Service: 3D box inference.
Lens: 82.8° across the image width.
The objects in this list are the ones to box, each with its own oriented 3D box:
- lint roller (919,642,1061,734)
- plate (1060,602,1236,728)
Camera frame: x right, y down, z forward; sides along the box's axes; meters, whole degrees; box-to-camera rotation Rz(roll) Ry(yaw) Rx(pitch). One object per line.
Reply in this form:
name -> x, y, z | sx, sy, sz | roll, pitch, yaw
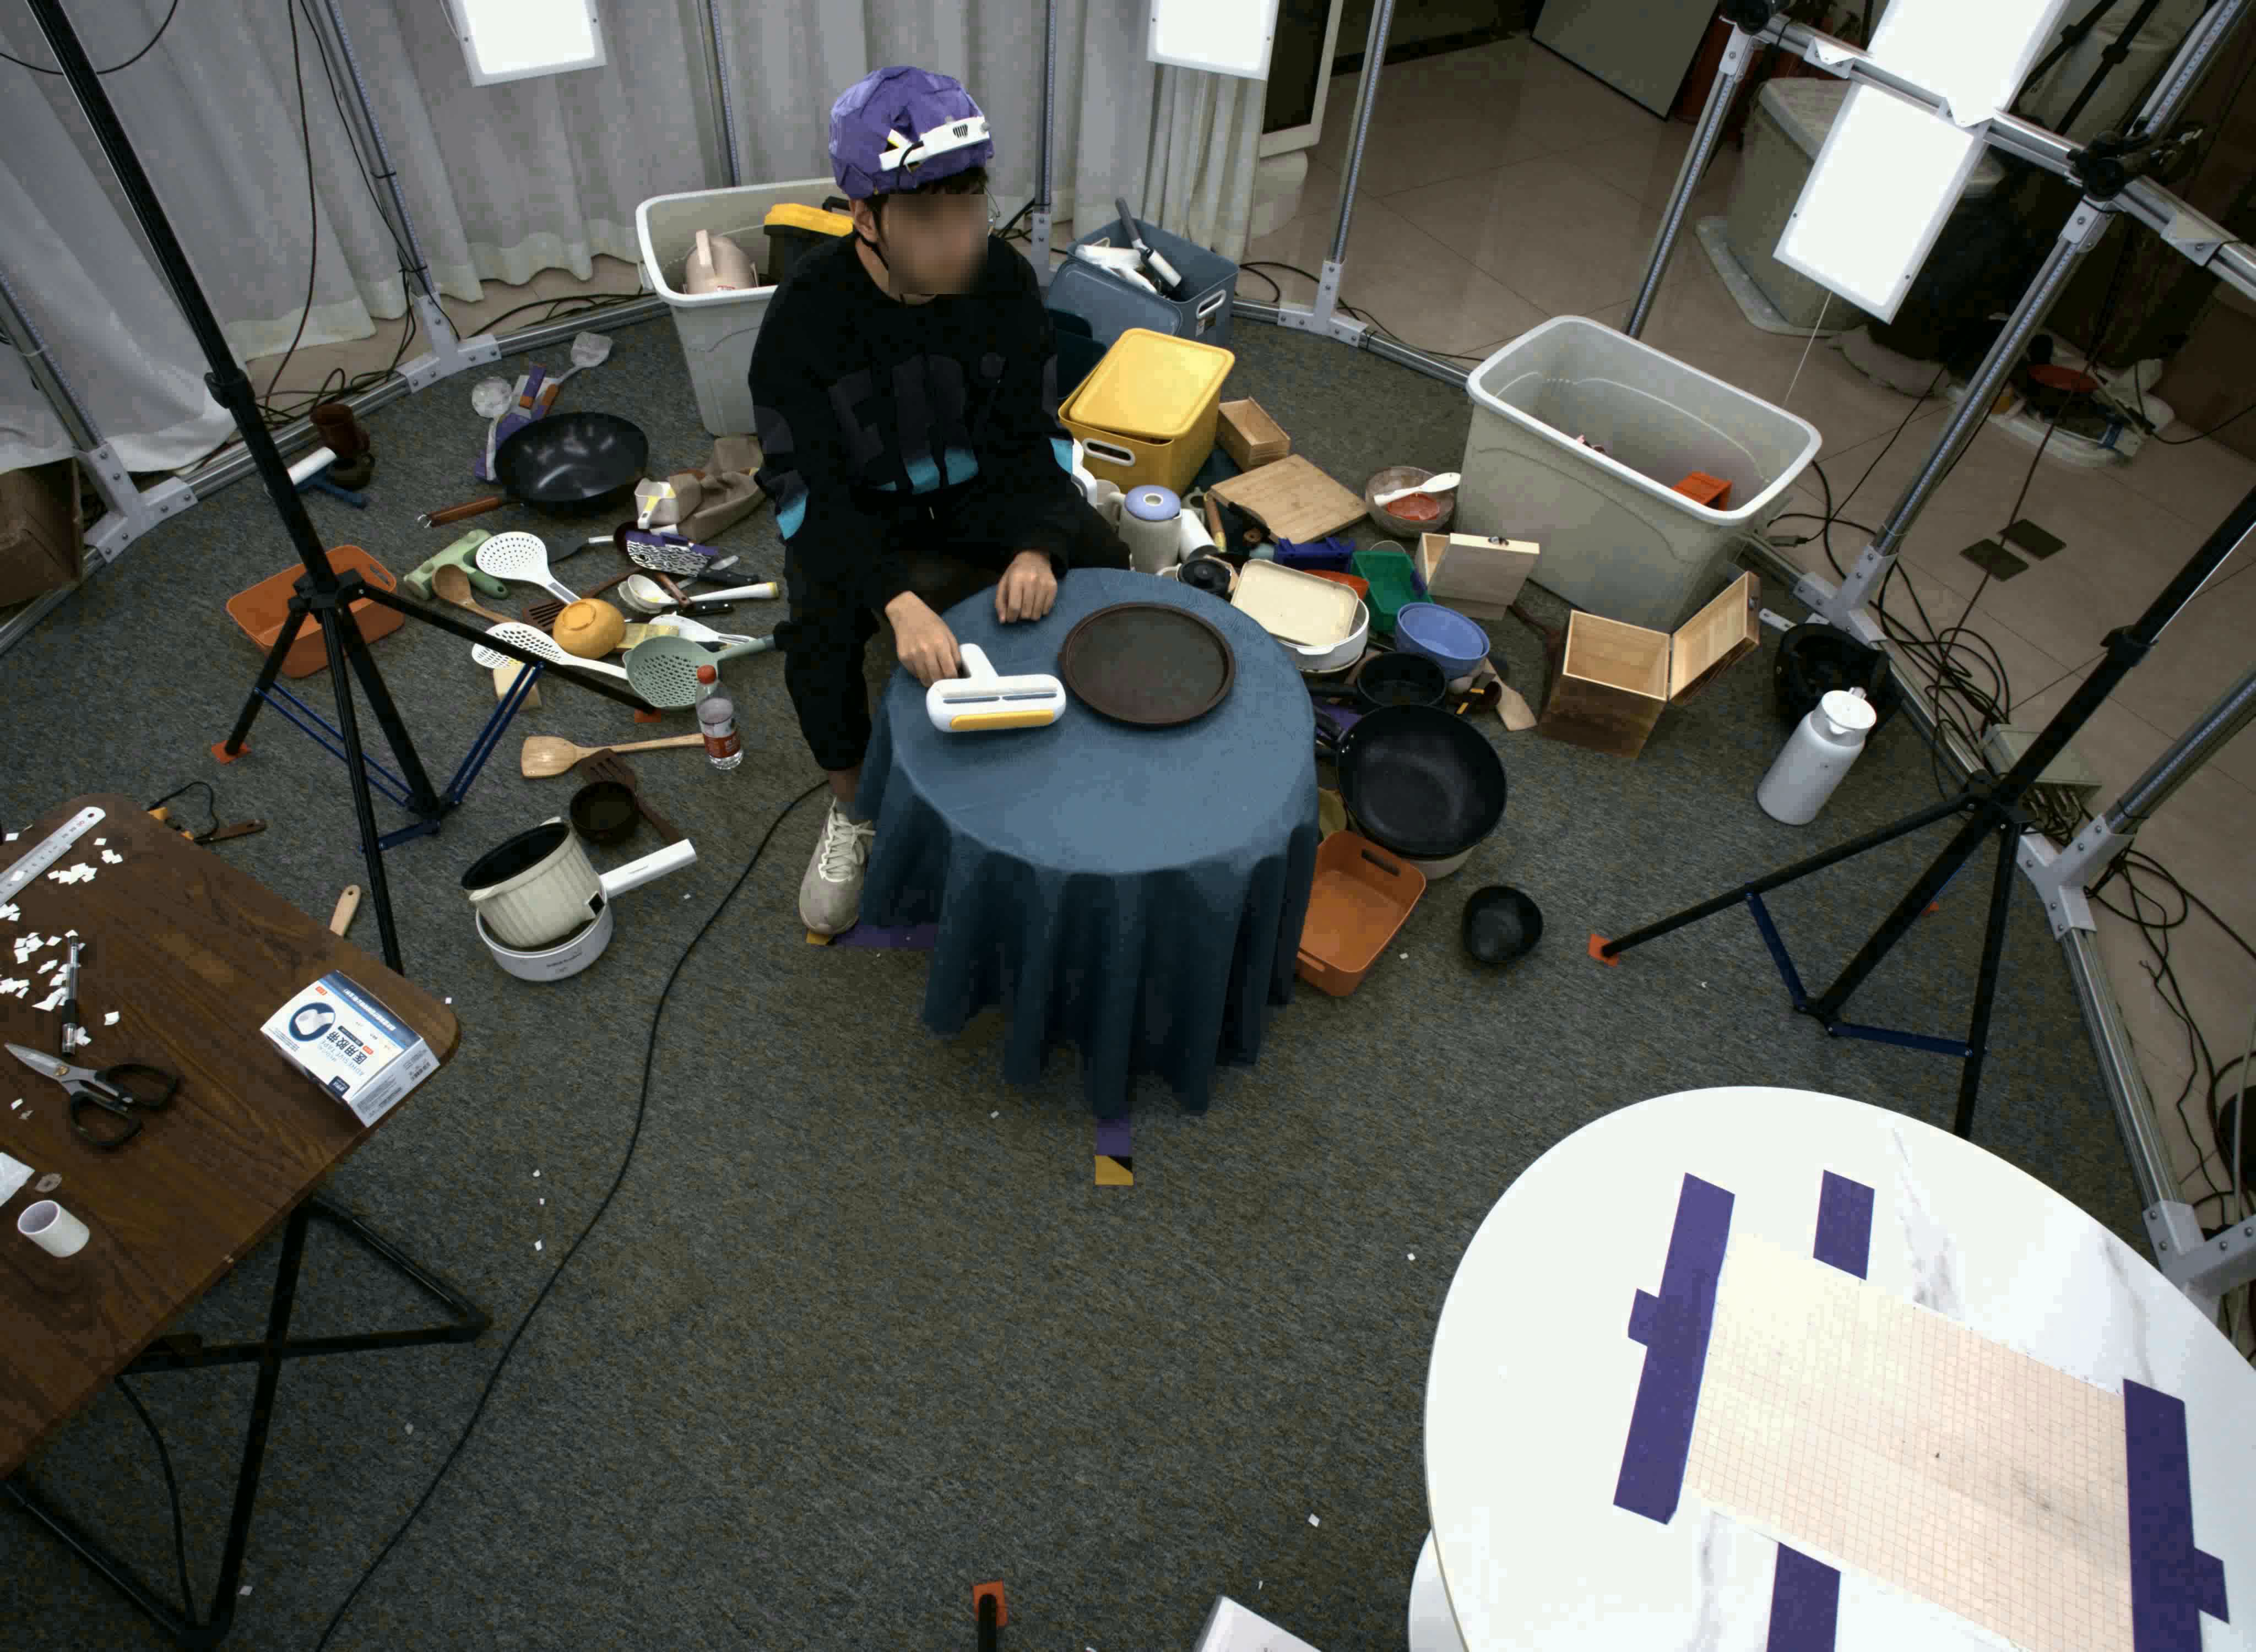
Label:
lint roller -> -0.202, -0.204, 1.789 | 0.192, 0.072, 0.197 | -6, 48, -16
plate -> 0.029, -0.234, 1.858 | 0.254, 0.028, 0.261 | 2, 48, -2
